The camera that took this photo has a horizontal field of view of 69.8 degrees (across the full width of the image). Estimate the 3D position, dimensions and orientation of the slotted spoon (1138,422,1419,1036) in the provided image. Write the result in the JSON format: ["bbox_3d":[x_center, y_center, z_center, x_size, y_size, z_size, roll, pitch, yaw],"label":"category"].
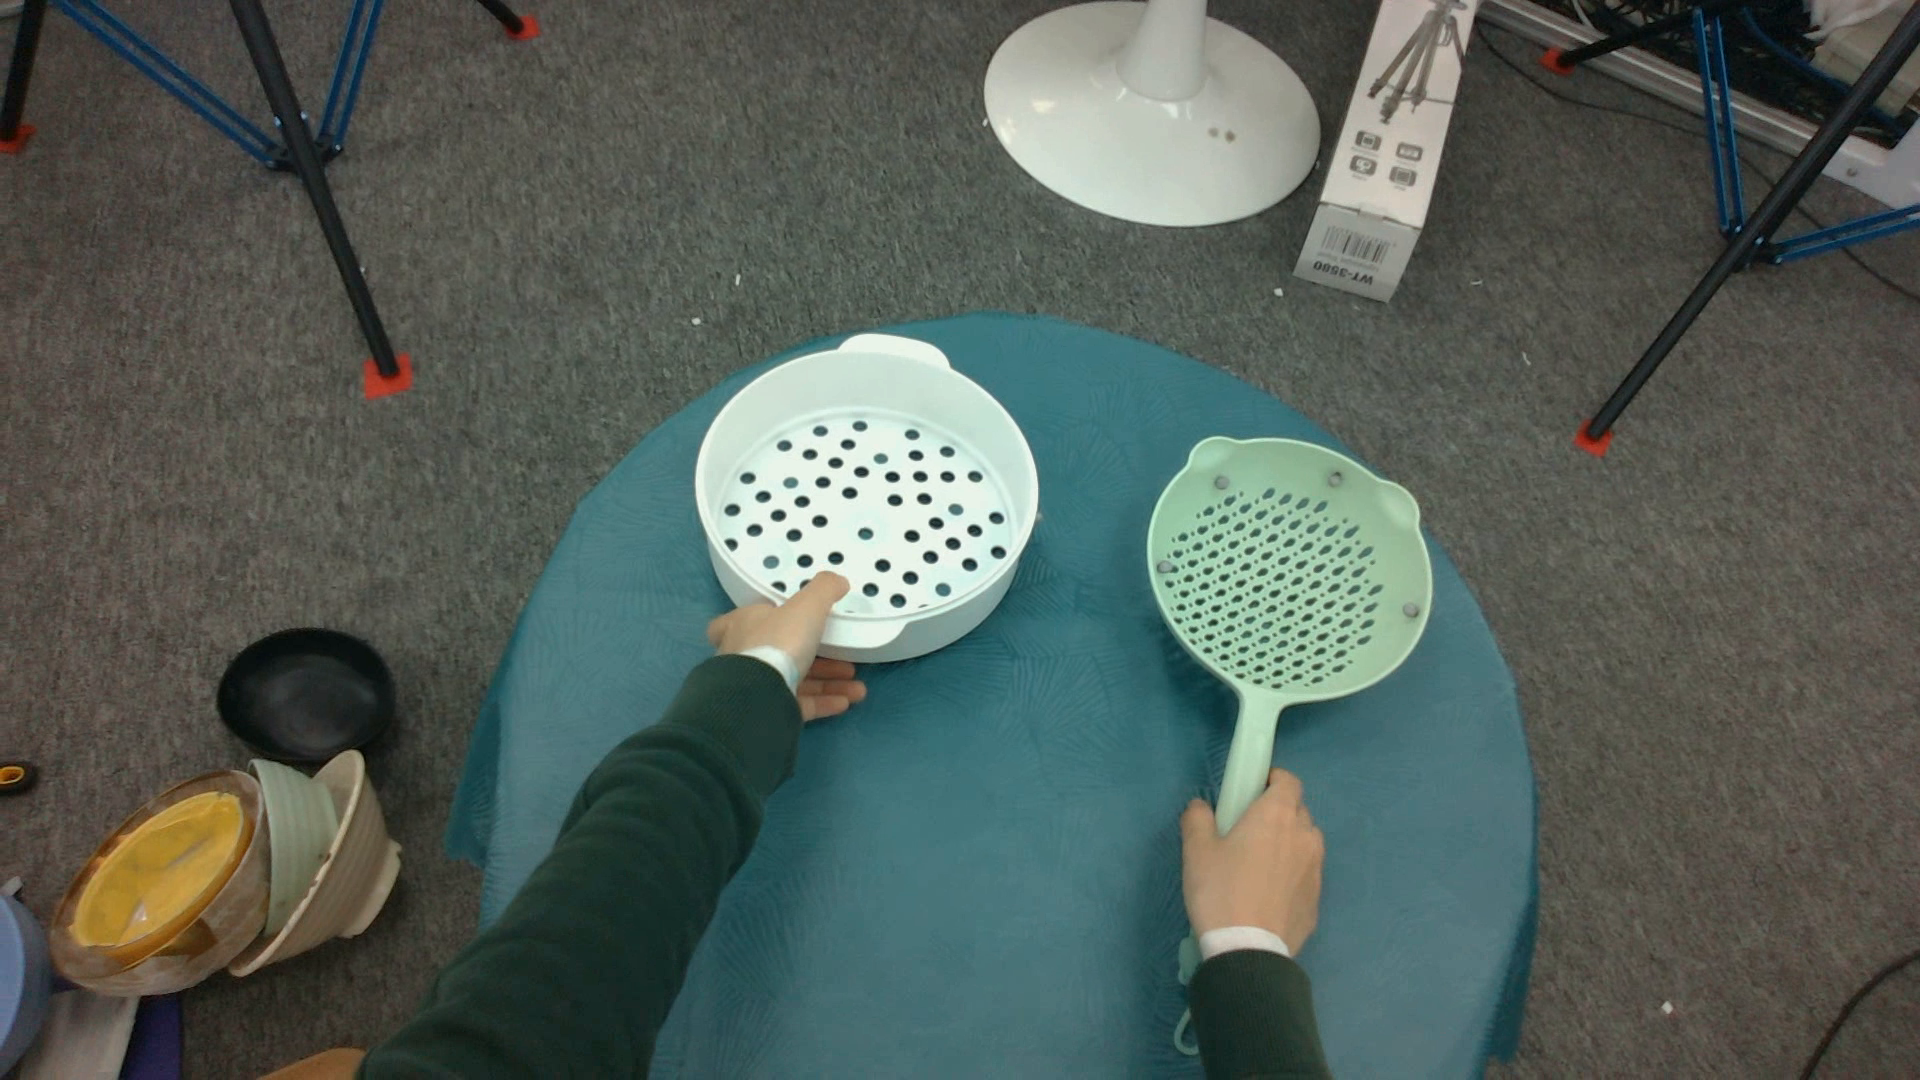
[{"bbox_3d":[0.160,0.094,0.777,0.169,0.075,0.360,16,56,4],"label":"slotted spoon"}]

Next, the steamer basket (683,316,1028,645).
[{"bbox_3d":[-0.063,-0.031,0.832,0.202,0.069,0.231,8,55,-1],"label":"steamer basket"}]
